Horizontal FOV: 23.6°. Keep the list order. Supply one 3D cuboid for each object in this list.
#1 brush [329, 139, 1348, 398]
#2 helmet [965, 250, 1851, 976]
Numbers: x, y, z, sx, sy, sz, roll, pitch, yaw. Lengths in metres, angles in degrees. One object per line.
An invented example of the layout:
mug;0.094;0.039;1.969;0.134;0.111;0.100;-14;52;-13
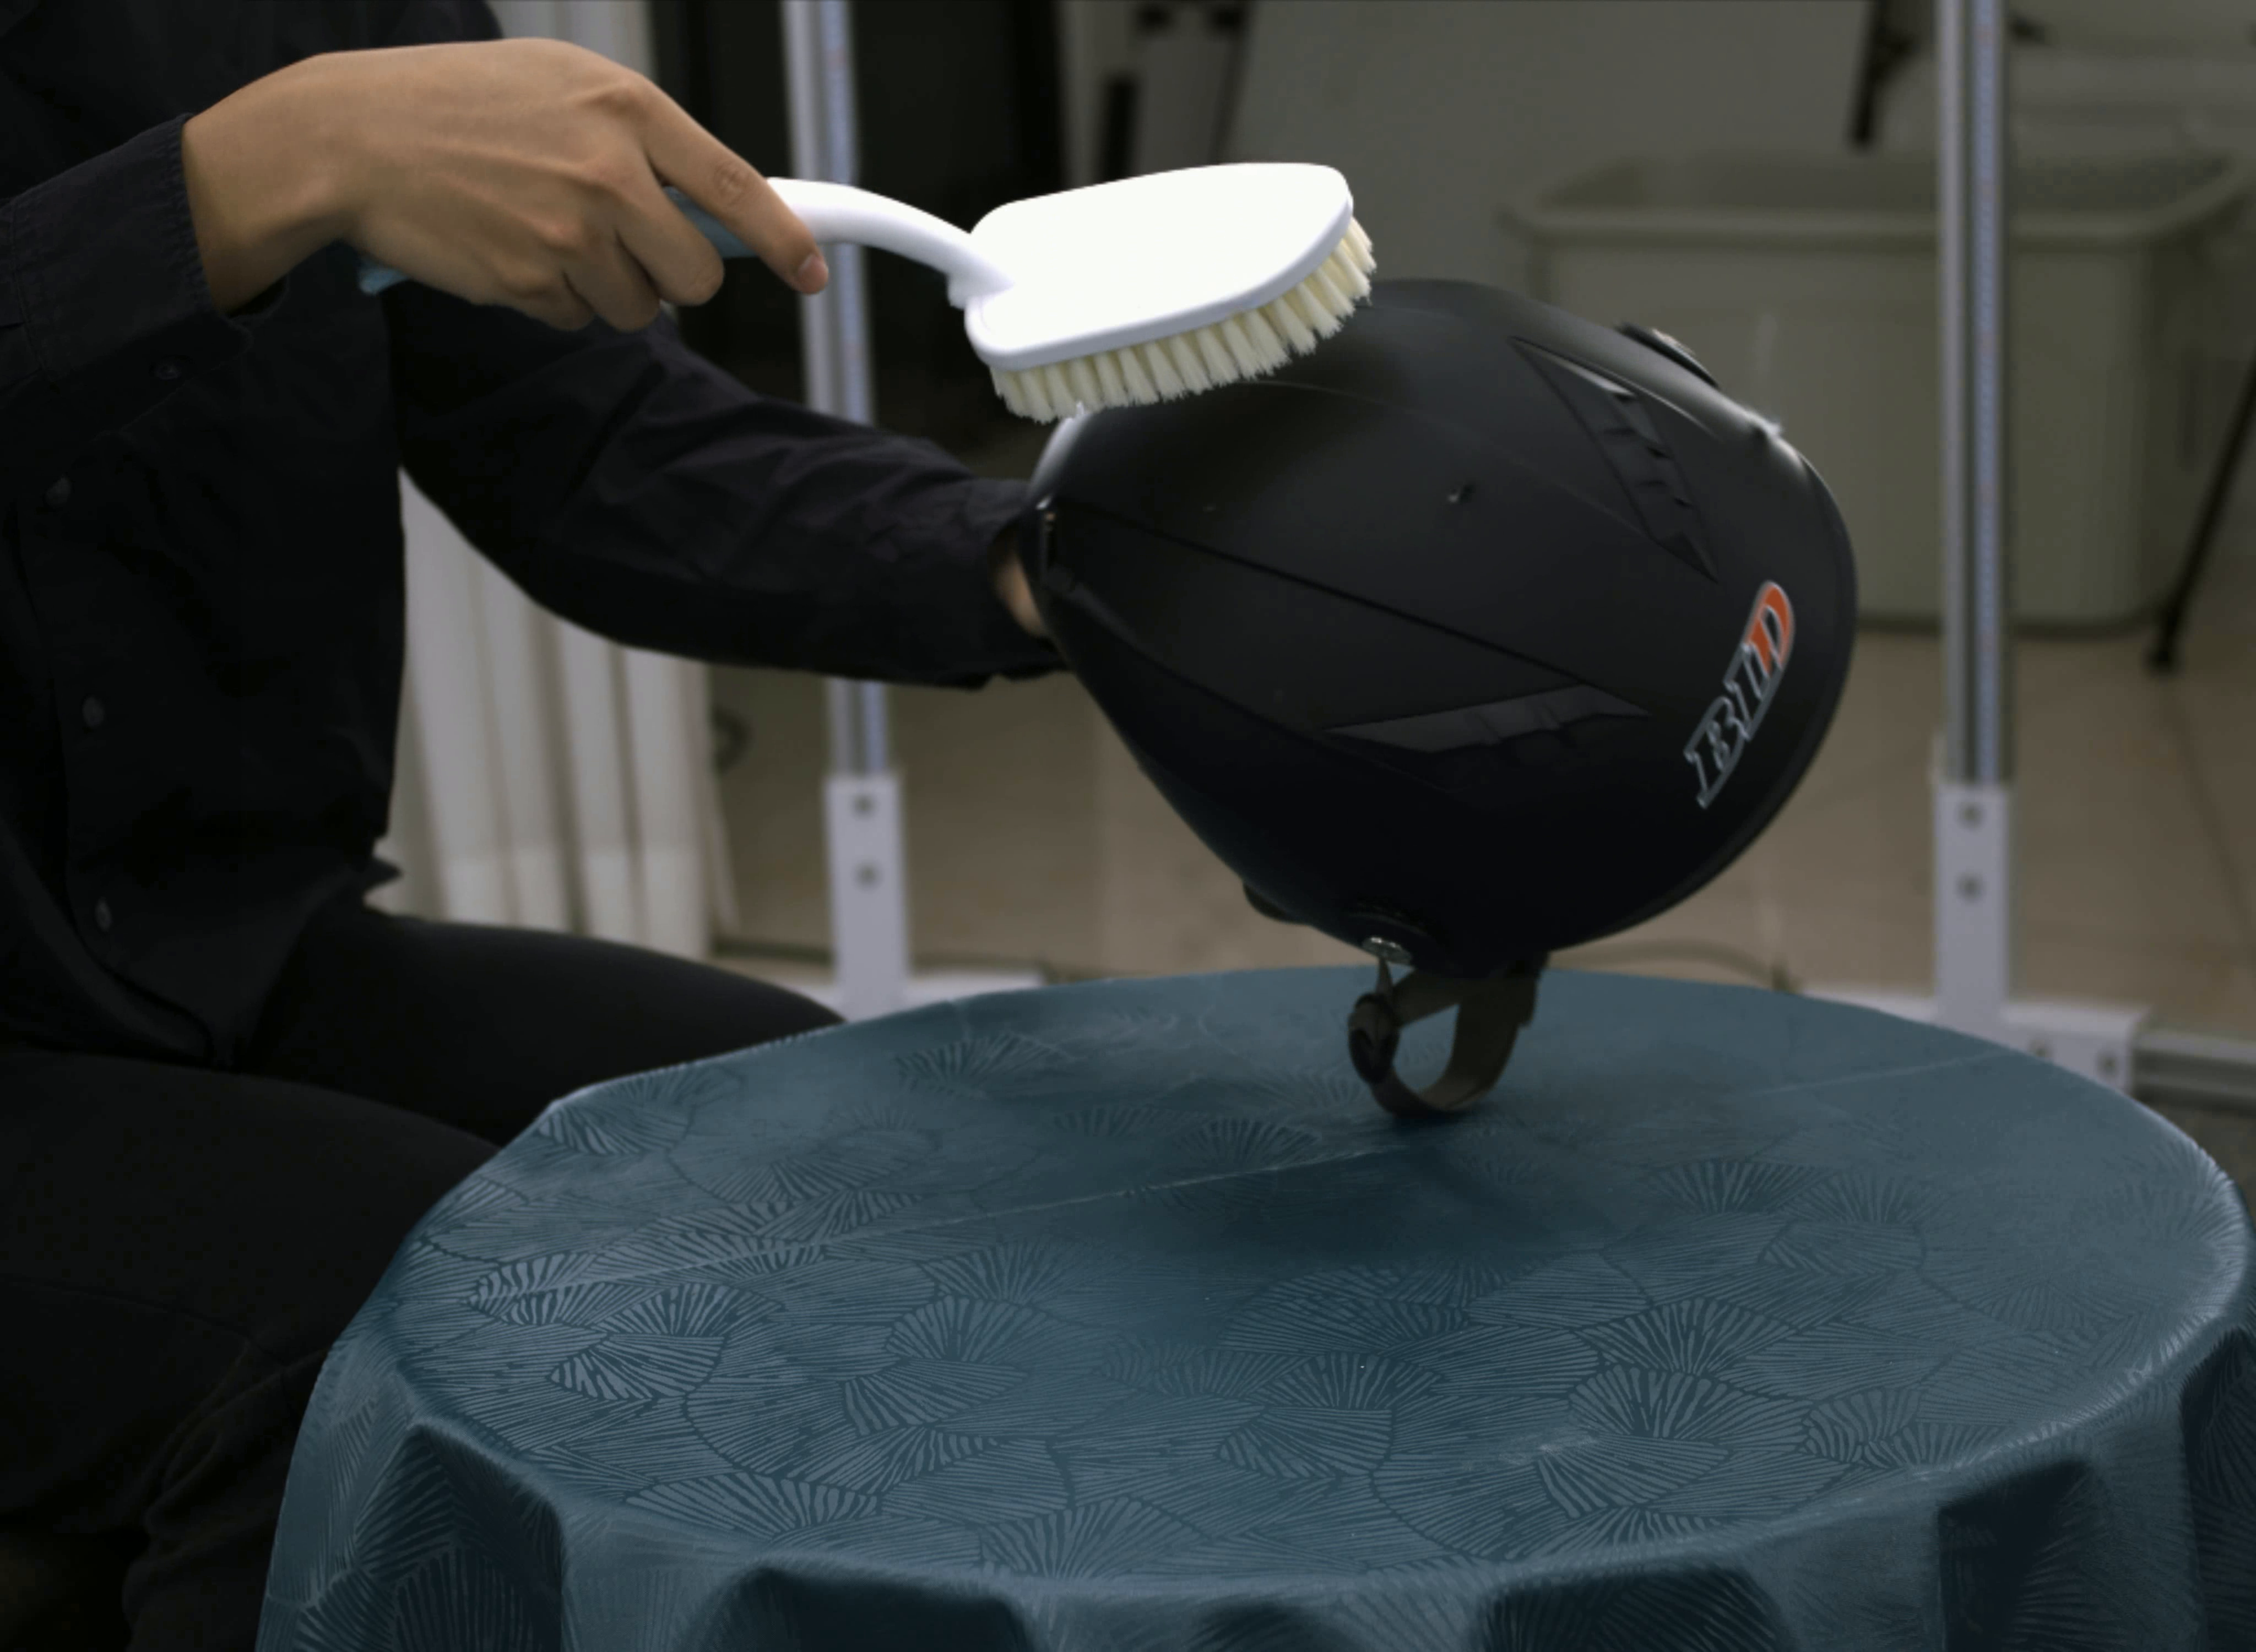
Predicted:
brush;-0.090;-0.178;1.725;0.322;0.085;0.083;-3;15;4
helmet;0.083;-0.088;1.753;0.279;0.248;0.169;18;-11;45
